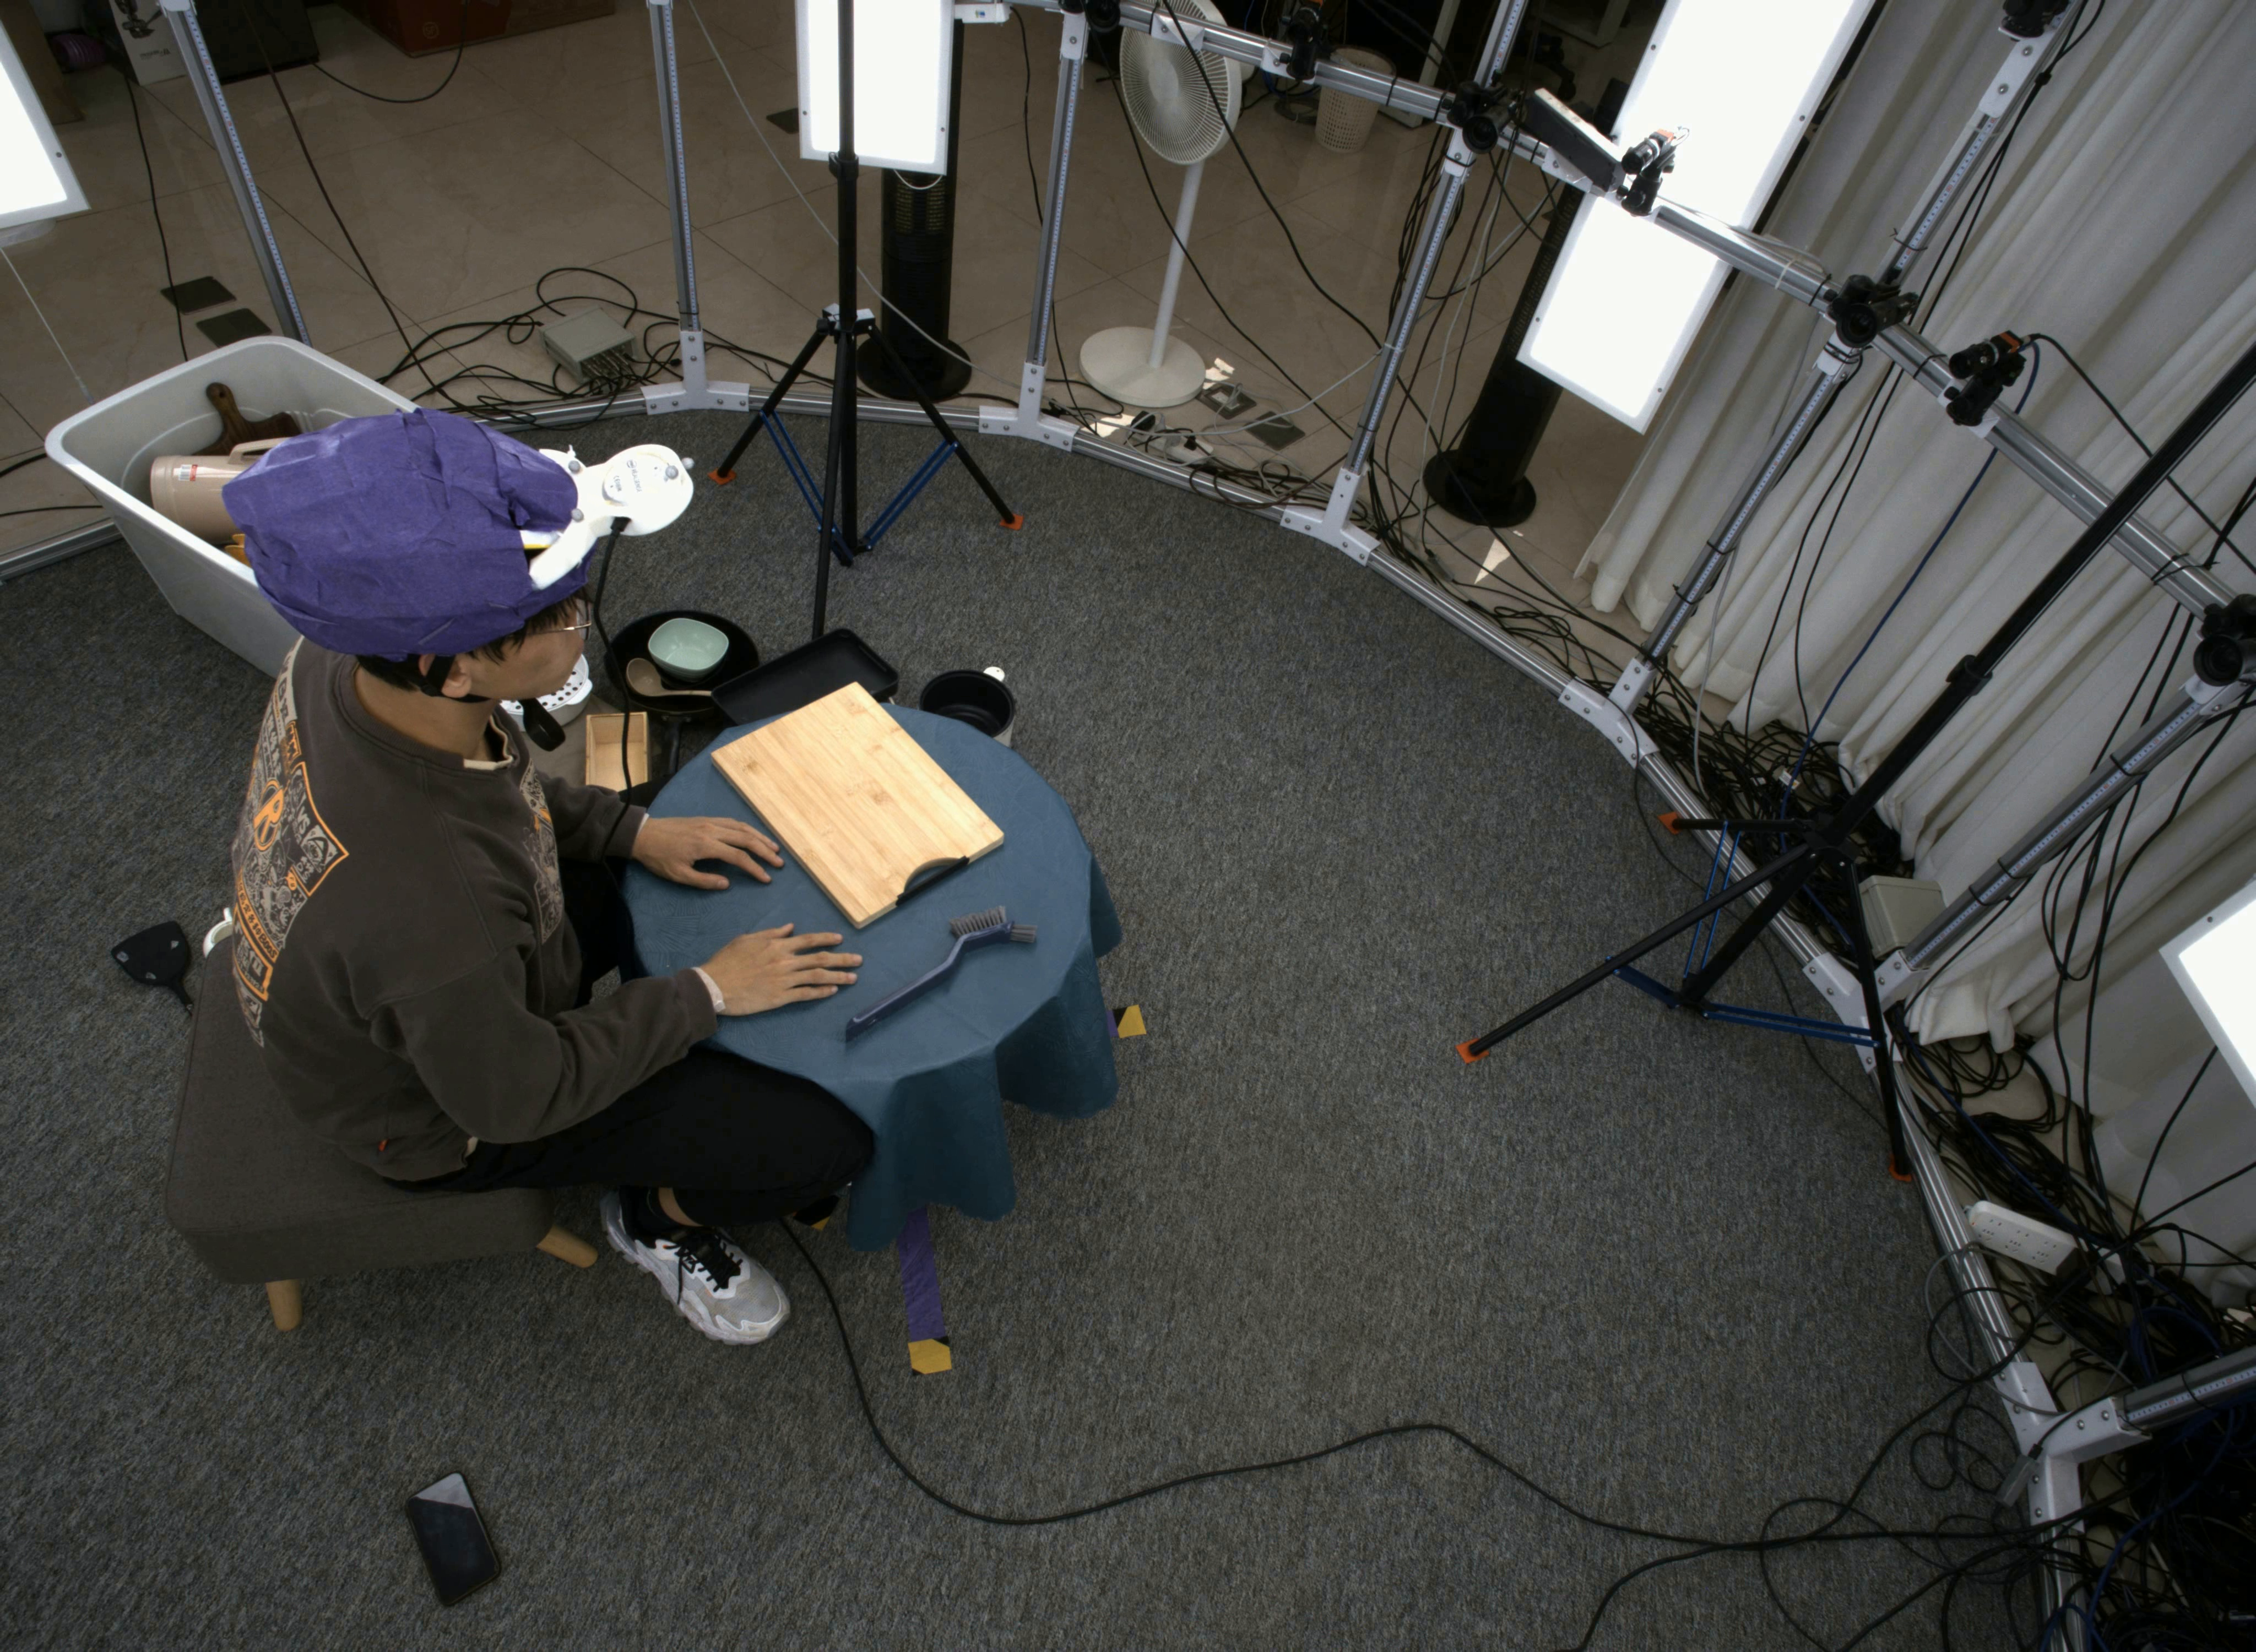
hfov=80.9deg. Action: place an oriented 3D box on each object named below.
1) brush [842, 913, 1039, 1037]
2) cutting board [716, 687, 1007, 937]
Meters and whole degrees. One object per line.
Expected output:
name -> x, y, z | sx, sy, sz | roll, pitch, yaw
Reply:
brush -> -0.235, 0.189, 1.626 | 0.093, 0.034, 0.273 | 39, 54, 16
cutting board -> -0.363, -0.033, 1.767 | 0.251, 0.024, 0.341 | -35, 68, -31
